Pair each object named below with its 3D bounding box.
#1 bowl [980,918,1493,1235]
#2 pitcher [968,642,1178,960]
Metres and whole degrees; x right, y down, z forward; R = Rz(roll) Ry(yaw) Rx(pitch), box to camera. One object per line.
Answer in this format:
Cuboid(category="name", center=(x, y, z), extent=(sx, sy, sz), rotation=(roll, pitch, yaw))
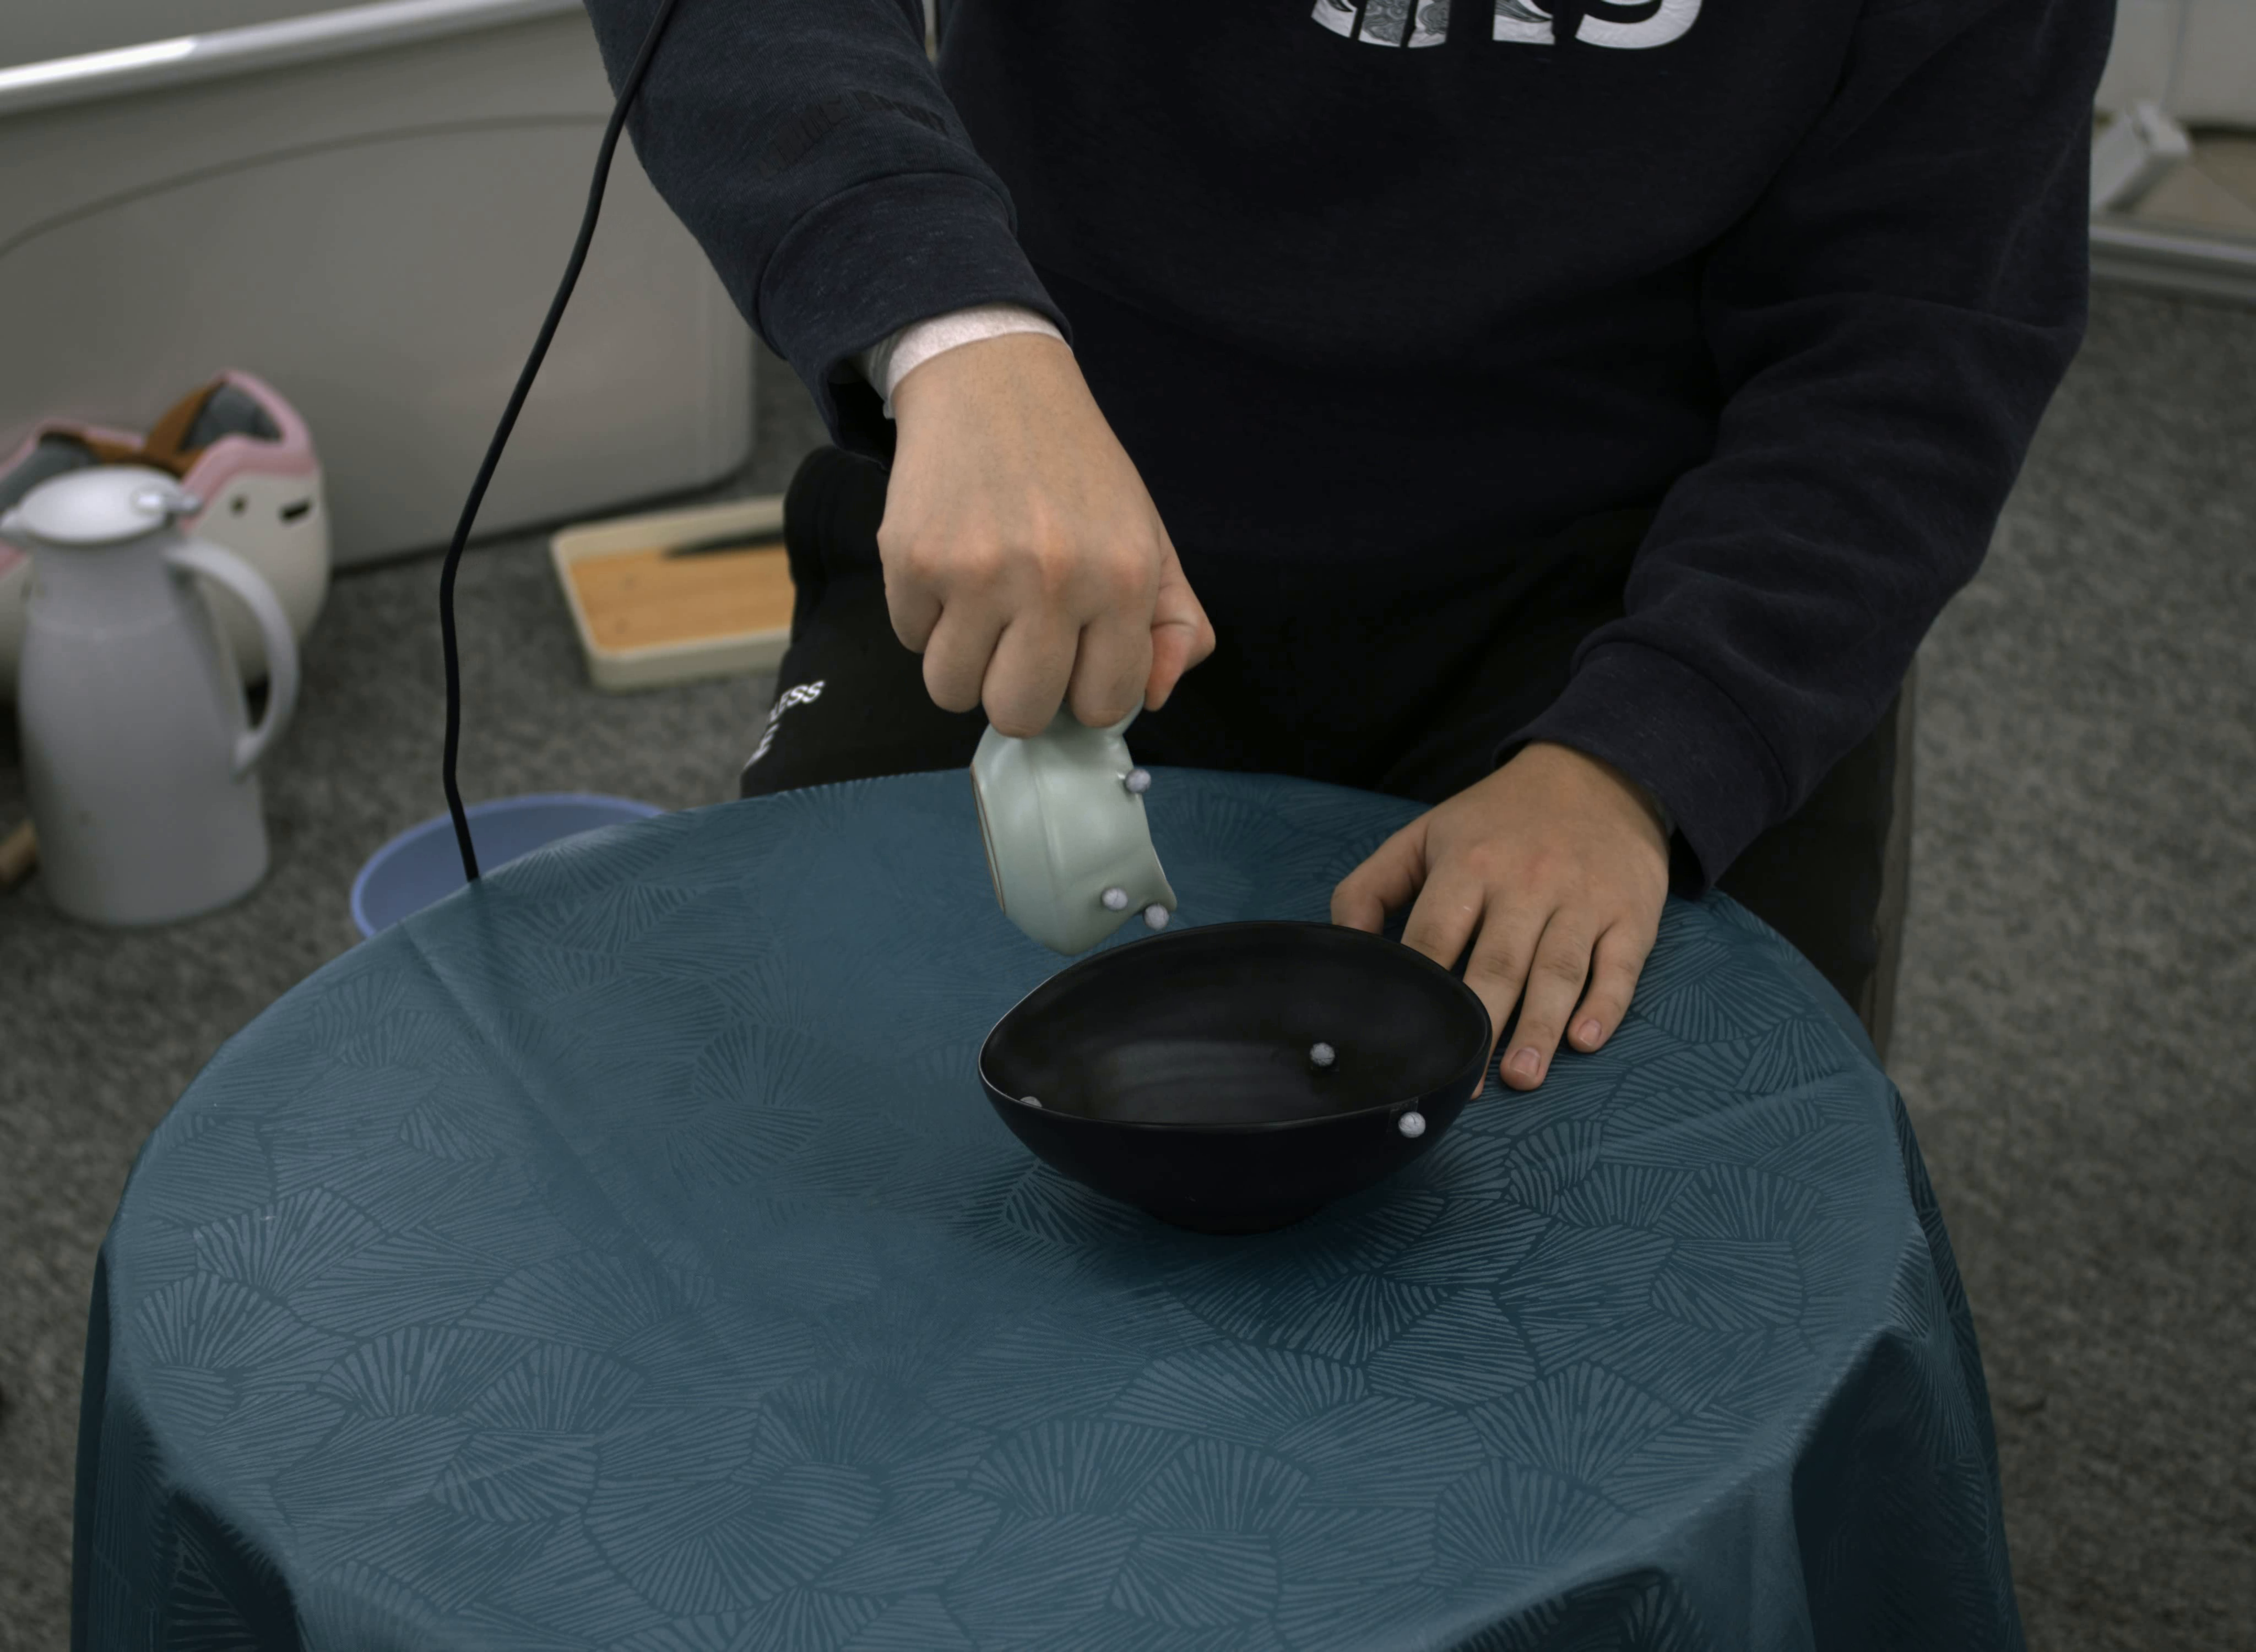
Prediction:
Cuboid(category="bowl", center=(0.036, 0.092, 1.852), extent=(0.169, 0.066, 0.139), rotation=(-2, 27, 3))
Cuboid(category="pitcher", center=(-0.020, -0.010, 1.796), extent=(0.060, 0.106, 0.087), rotation=(-14, 34, -4))
